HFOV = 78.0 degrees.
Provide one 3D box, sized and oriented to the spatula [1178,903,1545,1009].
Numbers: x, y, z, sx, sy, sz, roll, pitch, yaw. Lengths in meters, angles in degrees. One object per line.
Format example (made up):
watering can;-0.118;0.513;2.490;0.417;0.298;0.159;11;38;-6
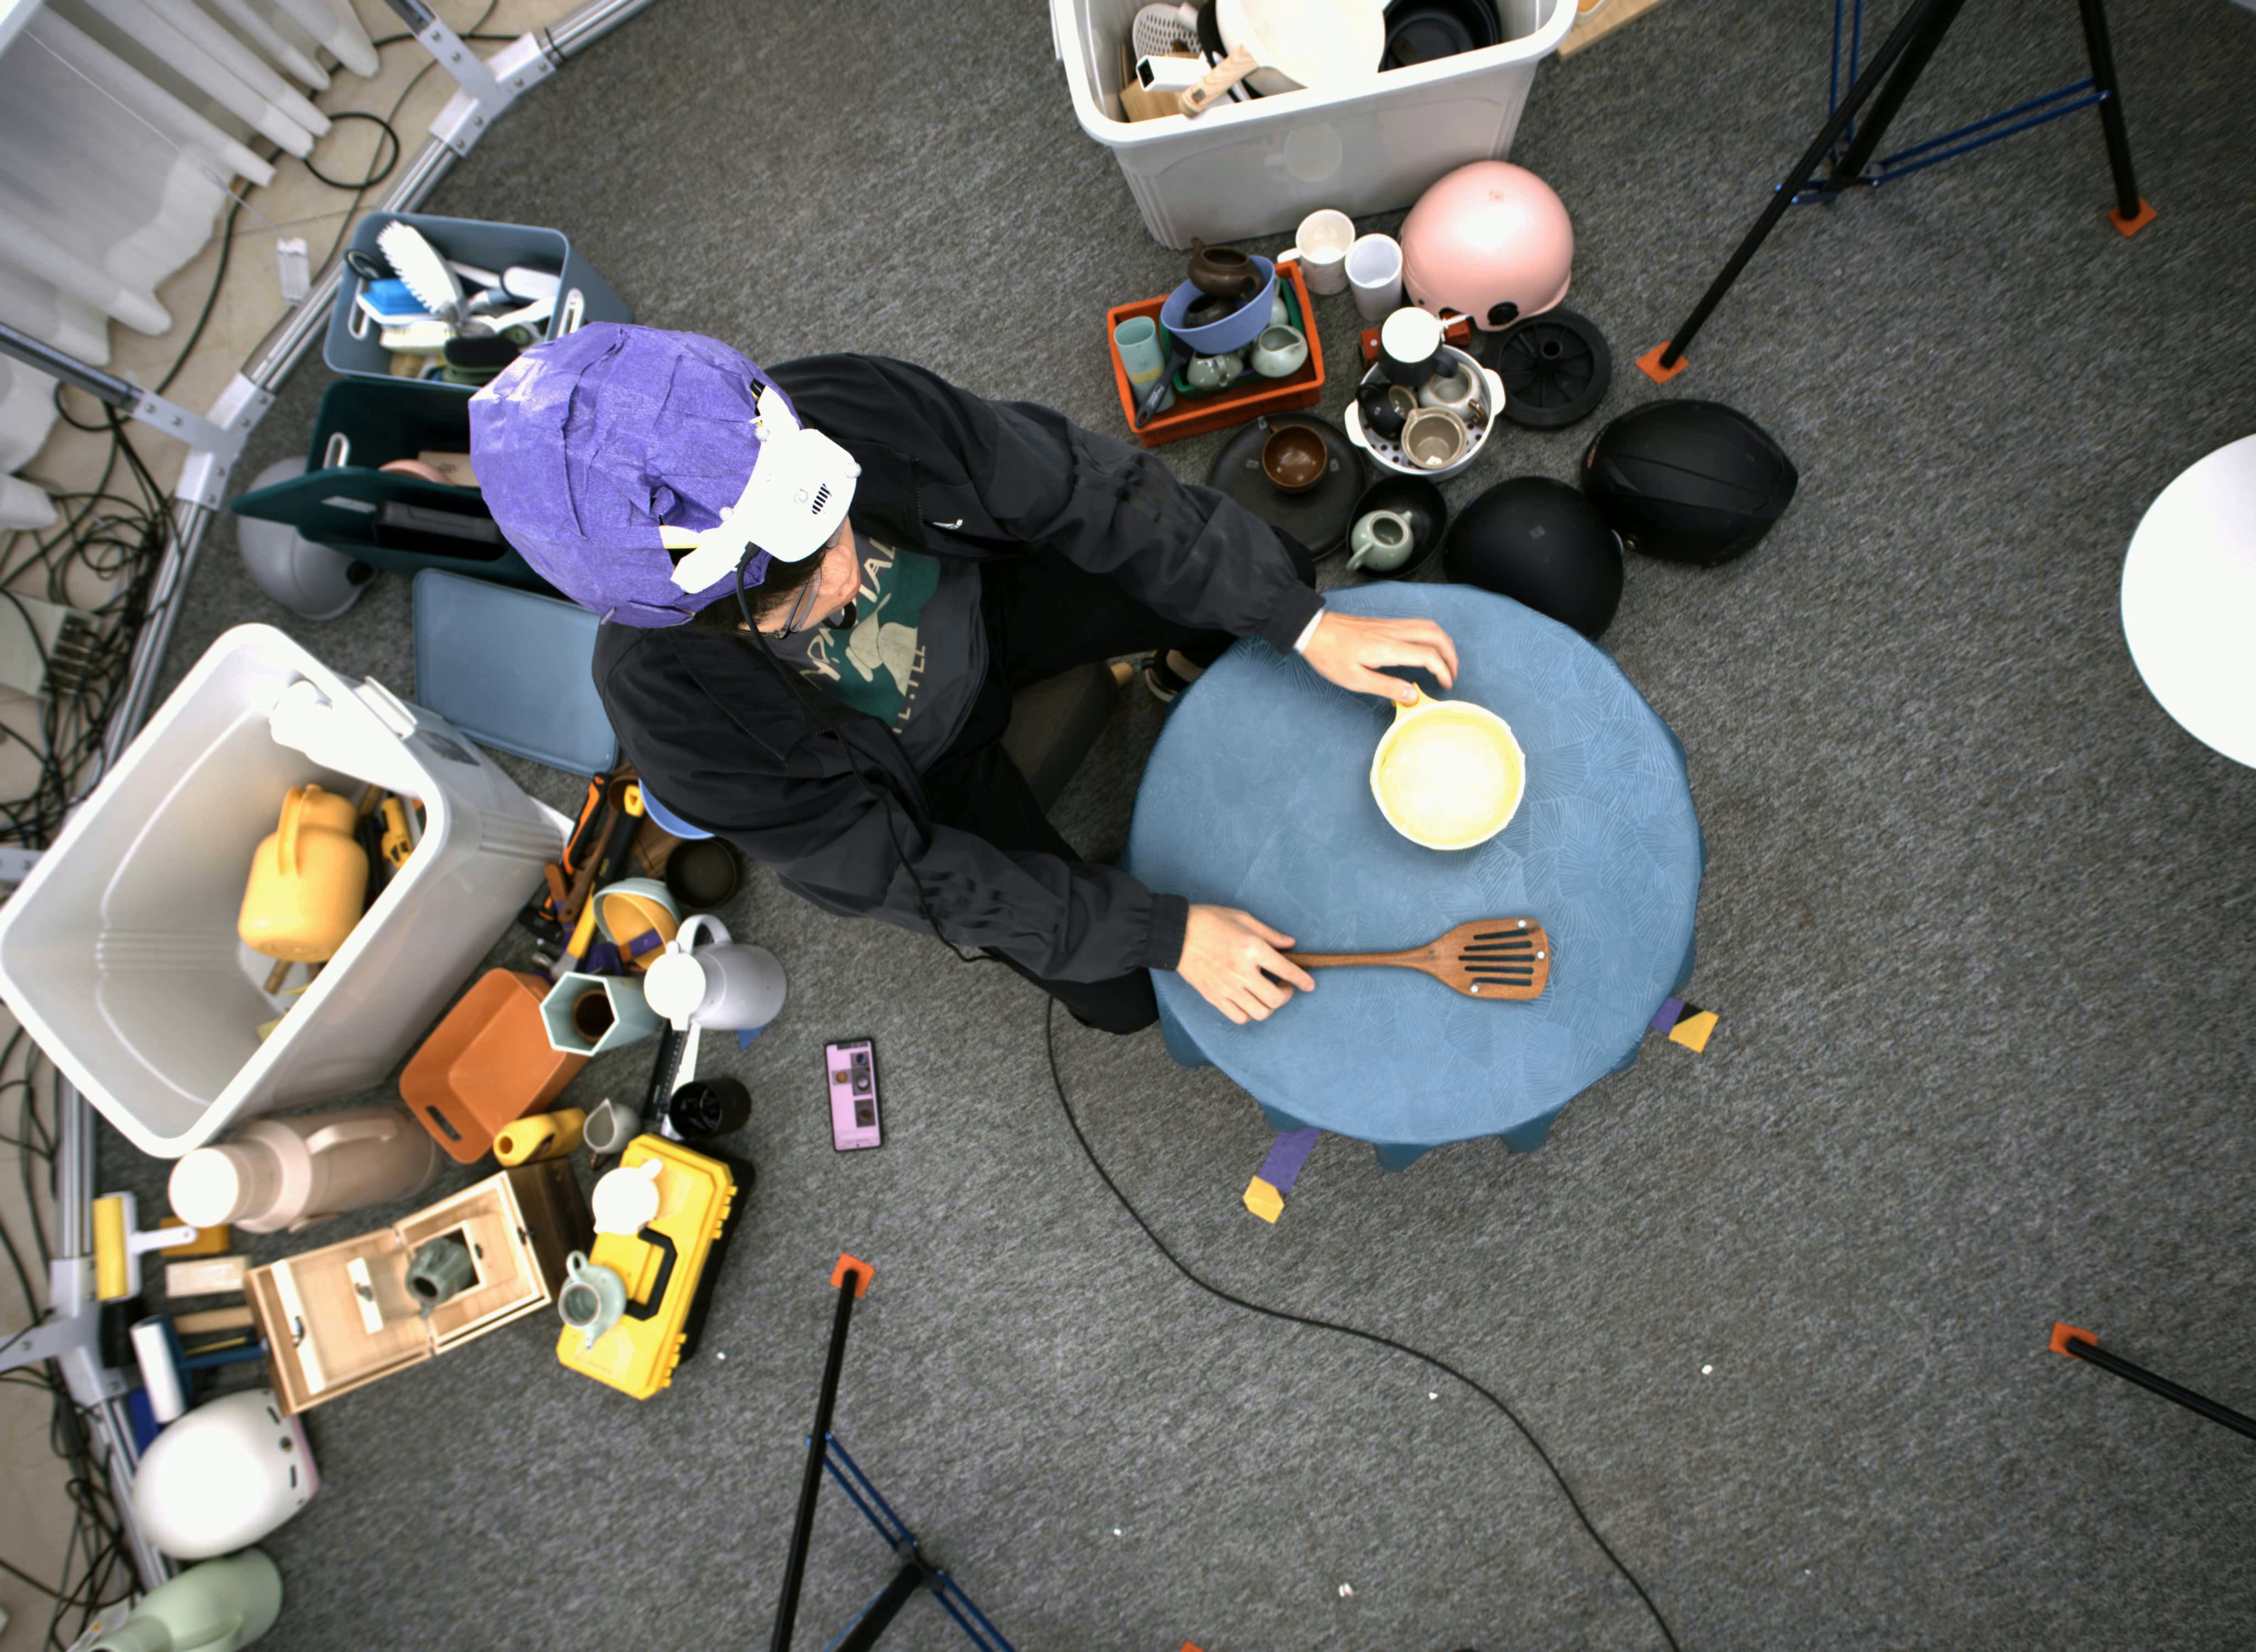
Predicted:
spatula;0.242;0.151;1.455;0.388;0.024;0.084;-10;76;7

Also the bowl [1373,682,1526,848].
bowl;0.324;-0.064;1.423;0.154;0.074;0.178;-31;82;7
